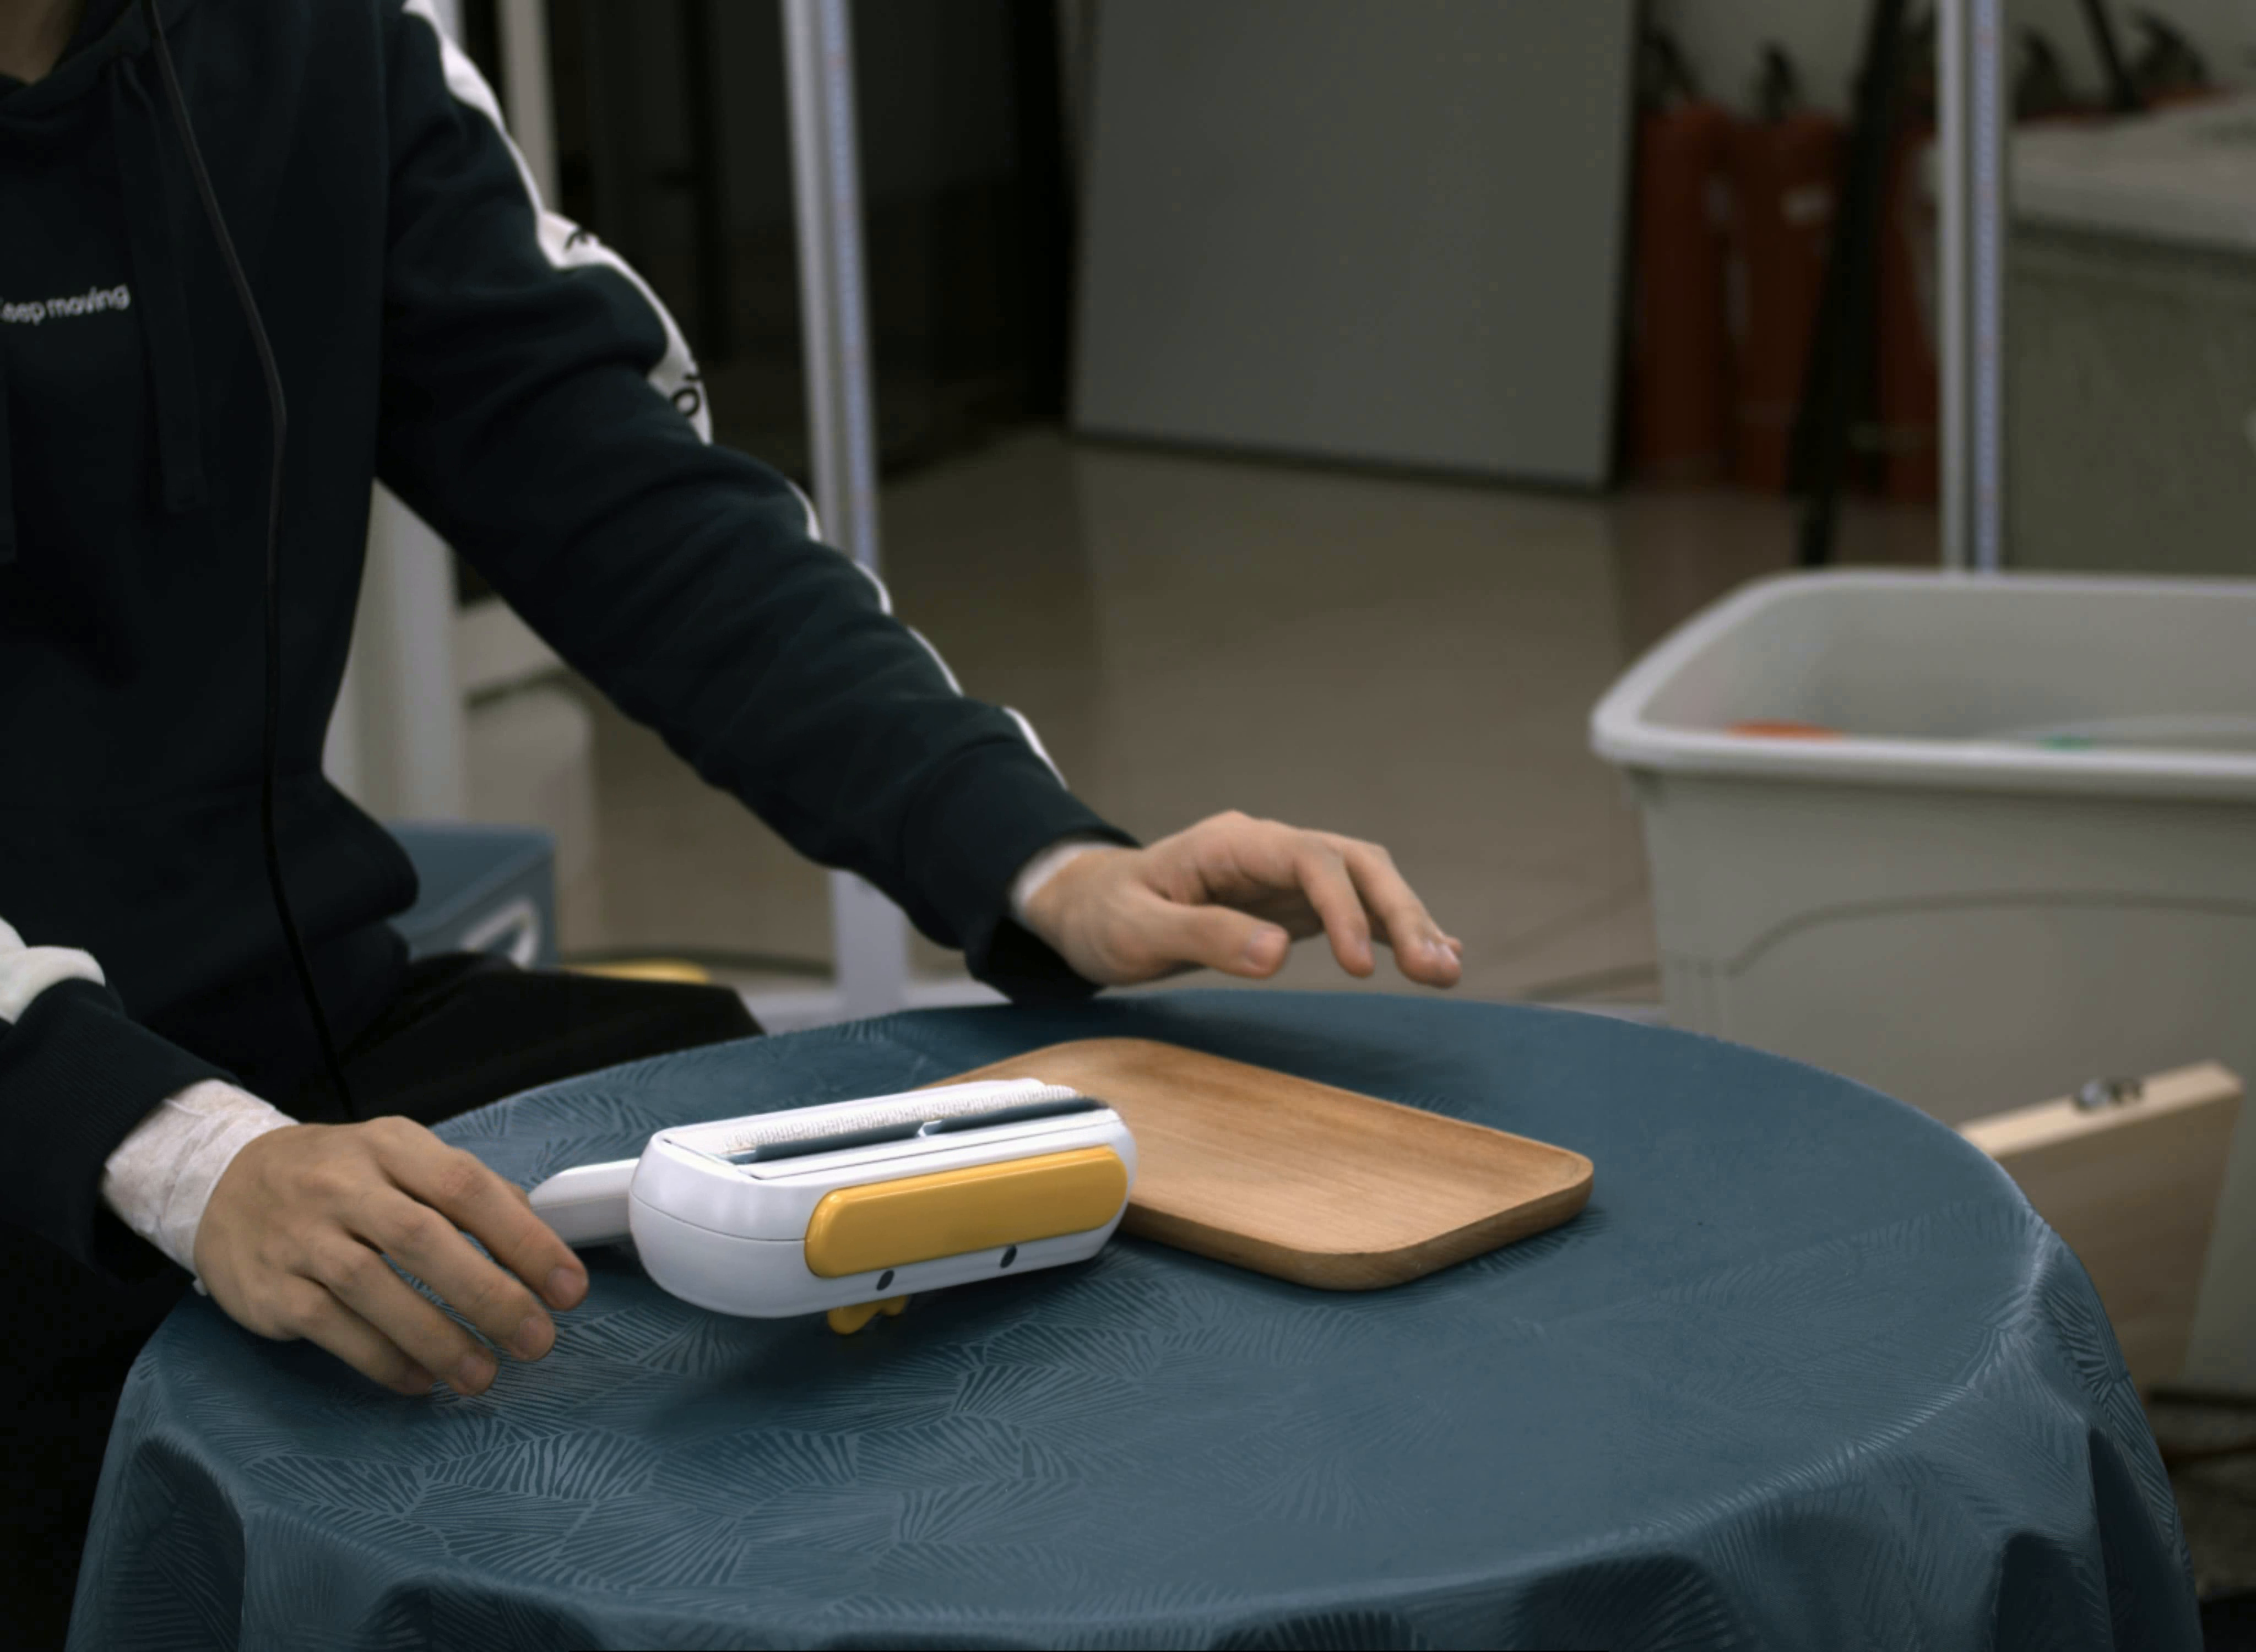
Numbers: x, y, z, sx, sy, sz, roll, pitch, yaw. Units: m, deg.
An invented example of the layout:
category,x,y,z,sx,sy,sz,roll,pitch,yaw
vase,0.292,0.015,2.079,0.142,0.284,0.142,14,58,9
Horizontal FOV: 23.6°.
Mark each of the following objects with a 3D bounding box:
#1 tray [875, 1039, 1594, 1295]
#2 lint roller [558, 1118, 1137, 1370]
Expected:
category,x,y,z,sx,sy,sz,roll,pitch,yaw
tray,0.032,0.110,1.773,0.128,0.023,0.253,-13,16,-38
lint roller,-0.115,0.134,1.691,0.188,0.075,0.194,-8,-2,-43
